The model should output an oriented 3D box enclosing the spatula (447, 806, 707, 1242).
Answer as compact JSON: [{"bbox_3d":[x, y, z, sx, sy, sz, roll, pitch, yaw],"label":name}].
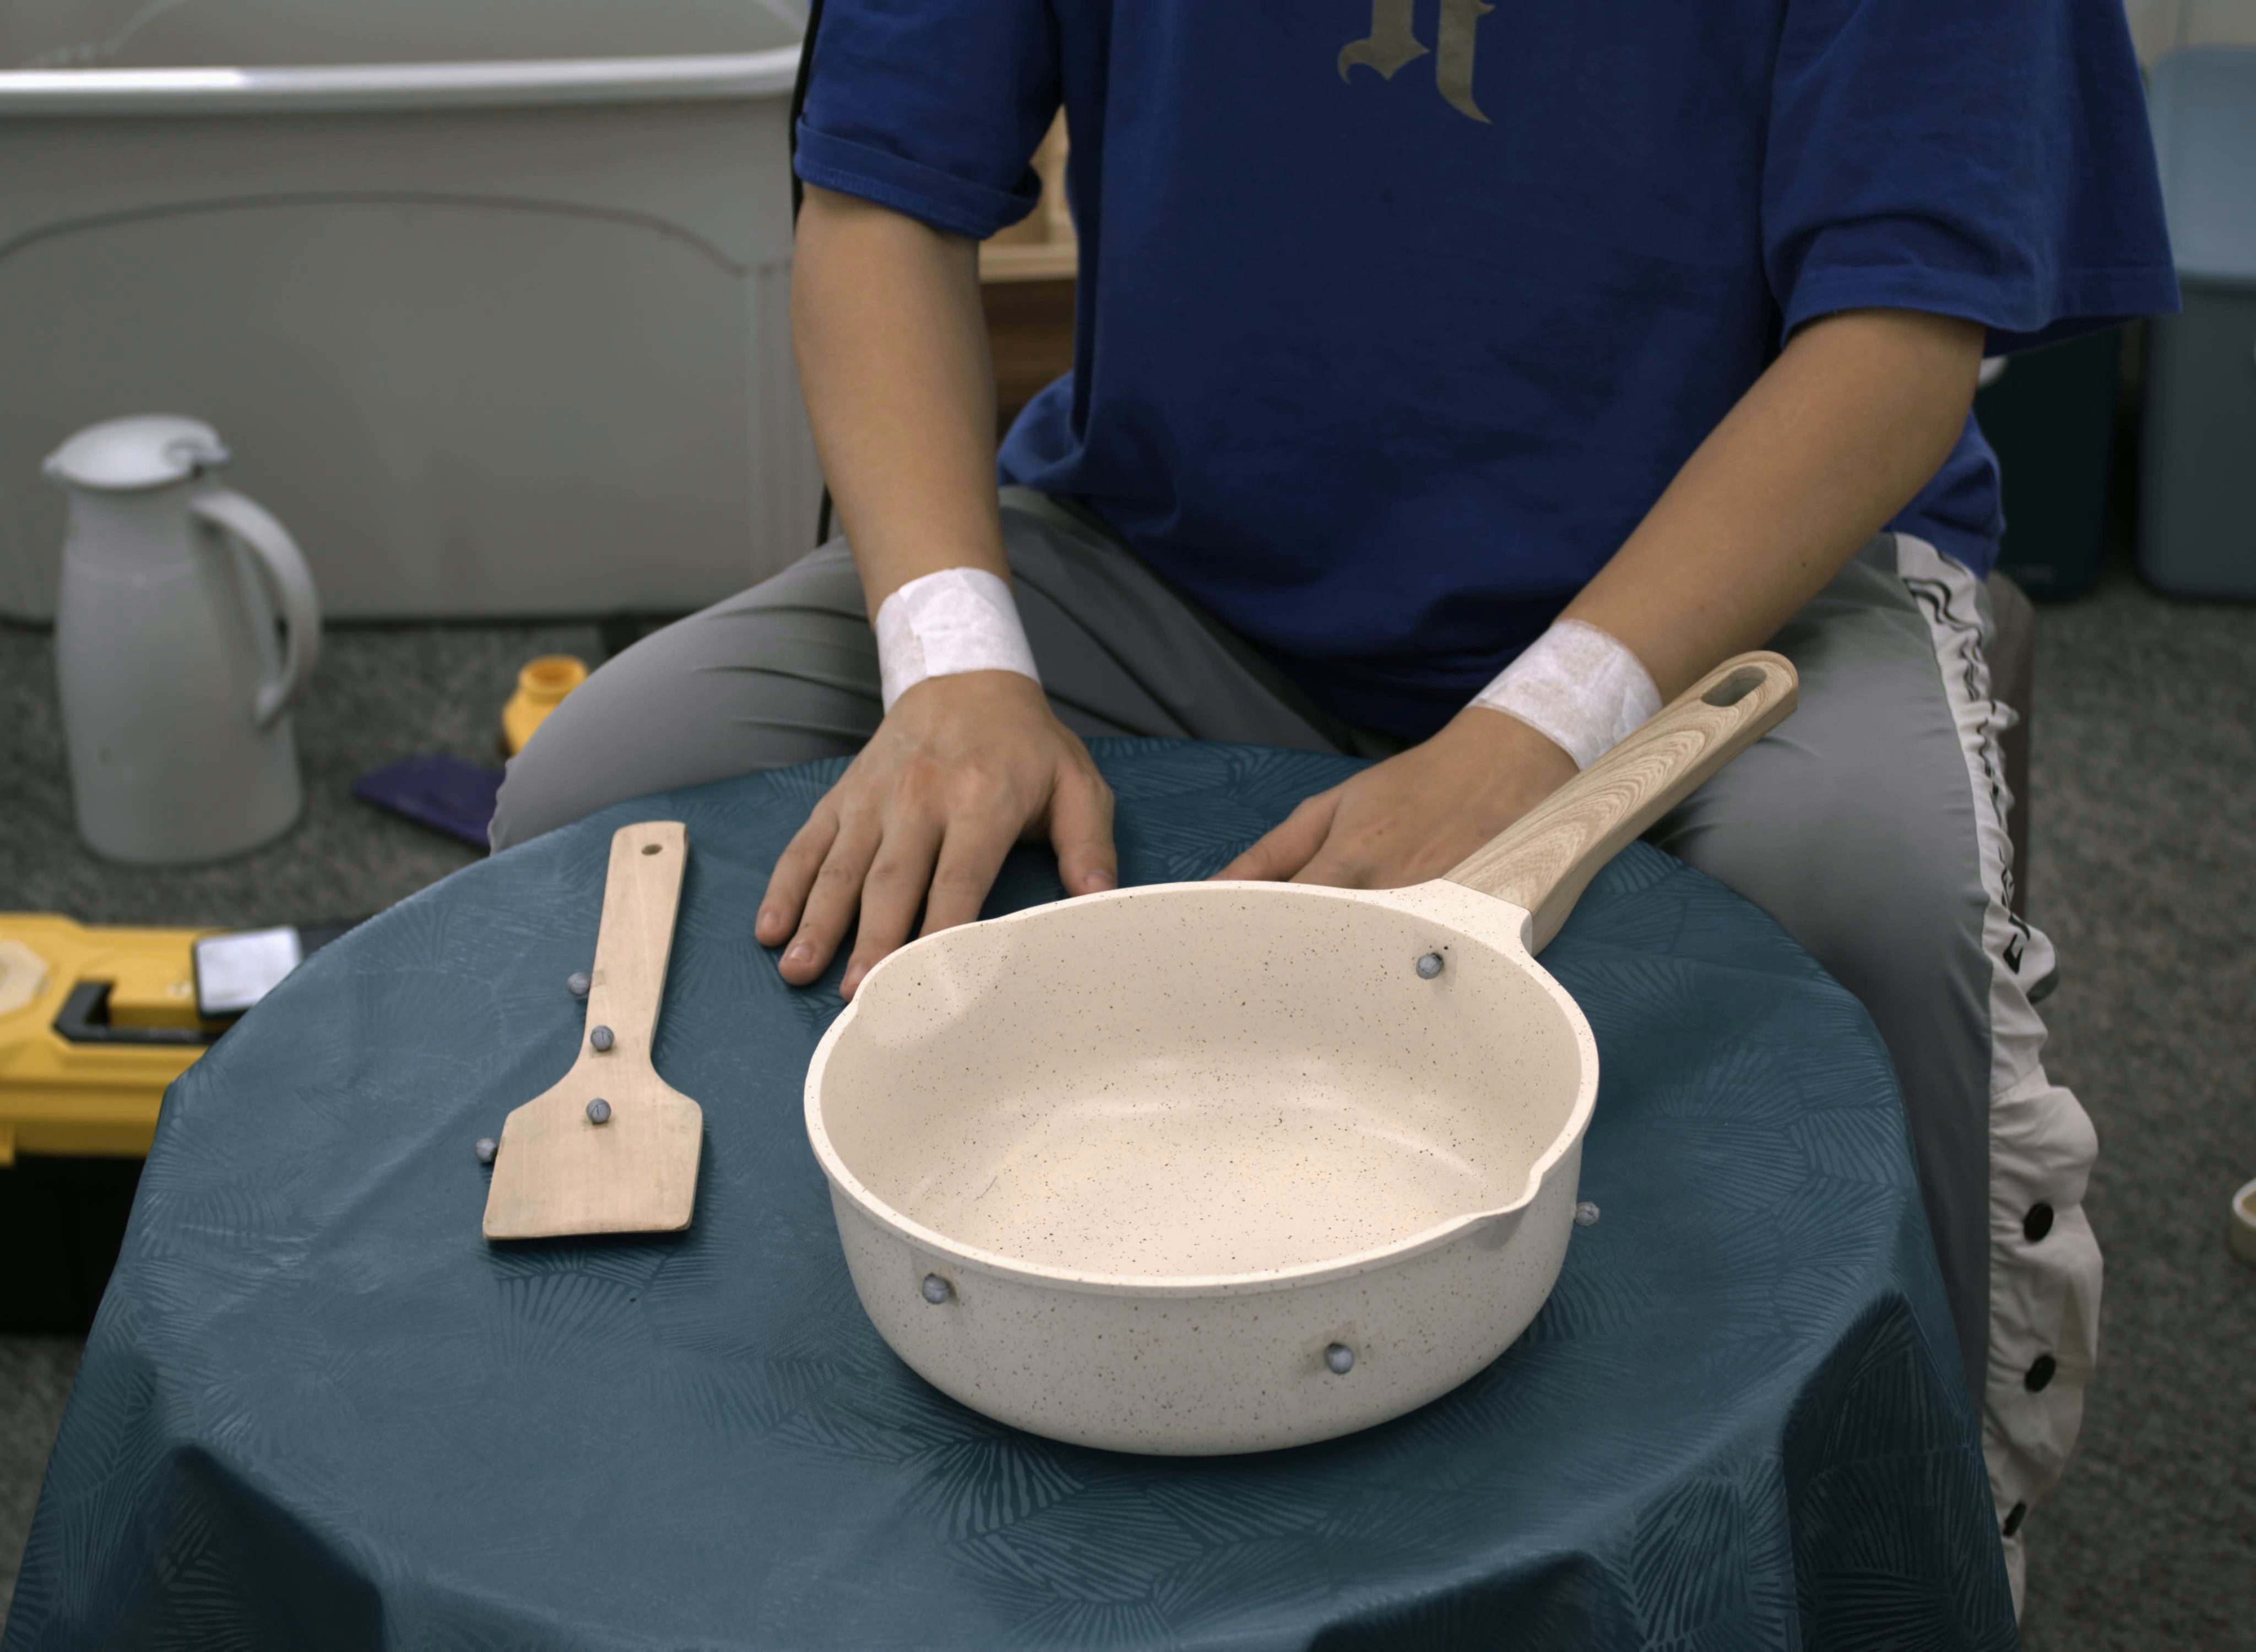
[{"bbox_3d":[-0.182,0.067,1.975,0.072,0.010,0.298,-2,29,6],"label":"spatula"}]

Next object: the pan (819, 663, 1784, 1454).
[{"bbox_3d":[0.088,0.071,1.844,0.262,0.101,0.441,17,33,37],"label":"pan"}]
